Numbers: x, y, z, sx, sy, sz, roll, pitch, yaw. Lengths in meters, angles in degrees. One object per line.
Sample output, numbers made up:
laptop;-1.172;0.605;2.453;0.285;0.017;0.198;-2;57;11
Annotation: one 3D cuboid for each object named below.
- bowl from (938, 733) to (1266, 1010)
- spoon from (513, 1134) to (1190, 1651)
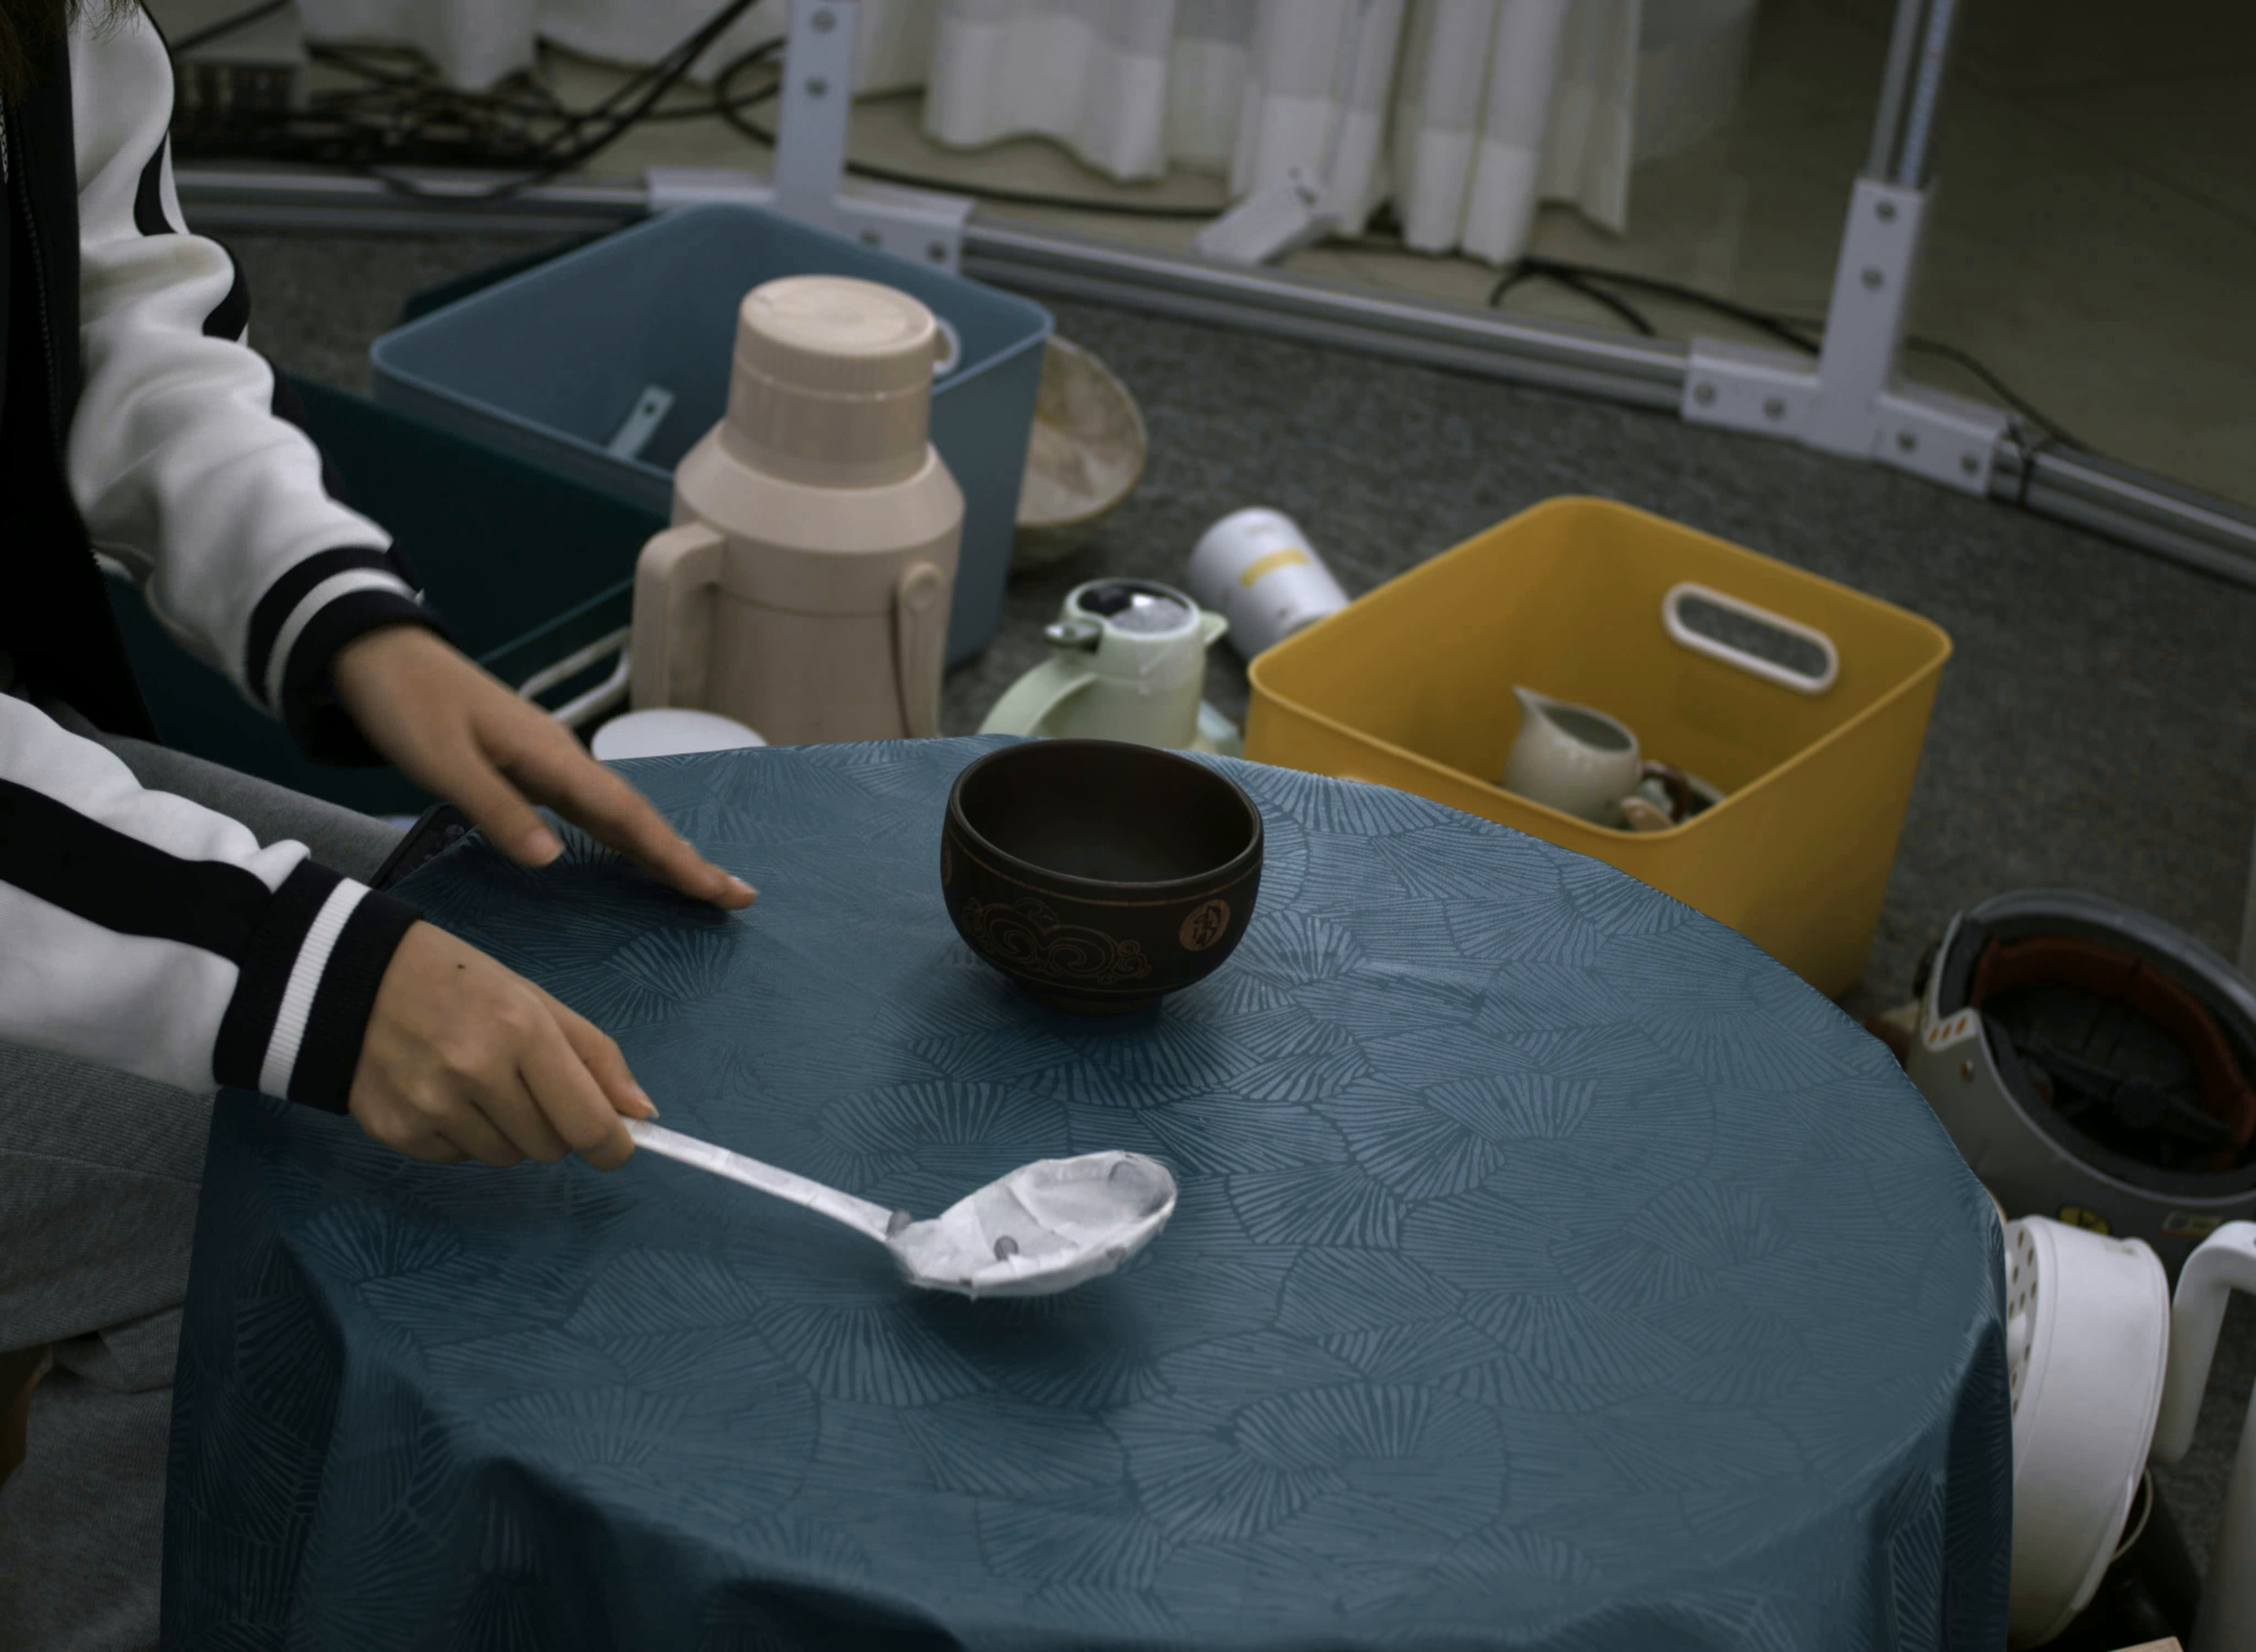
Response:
bowl;-0.011;0.023;1.917;0.117;0.069;0.119;5;26;-3
spoon;-0.093;0.196;1.728;0.059;0.277;0.101;43;-1;-12
